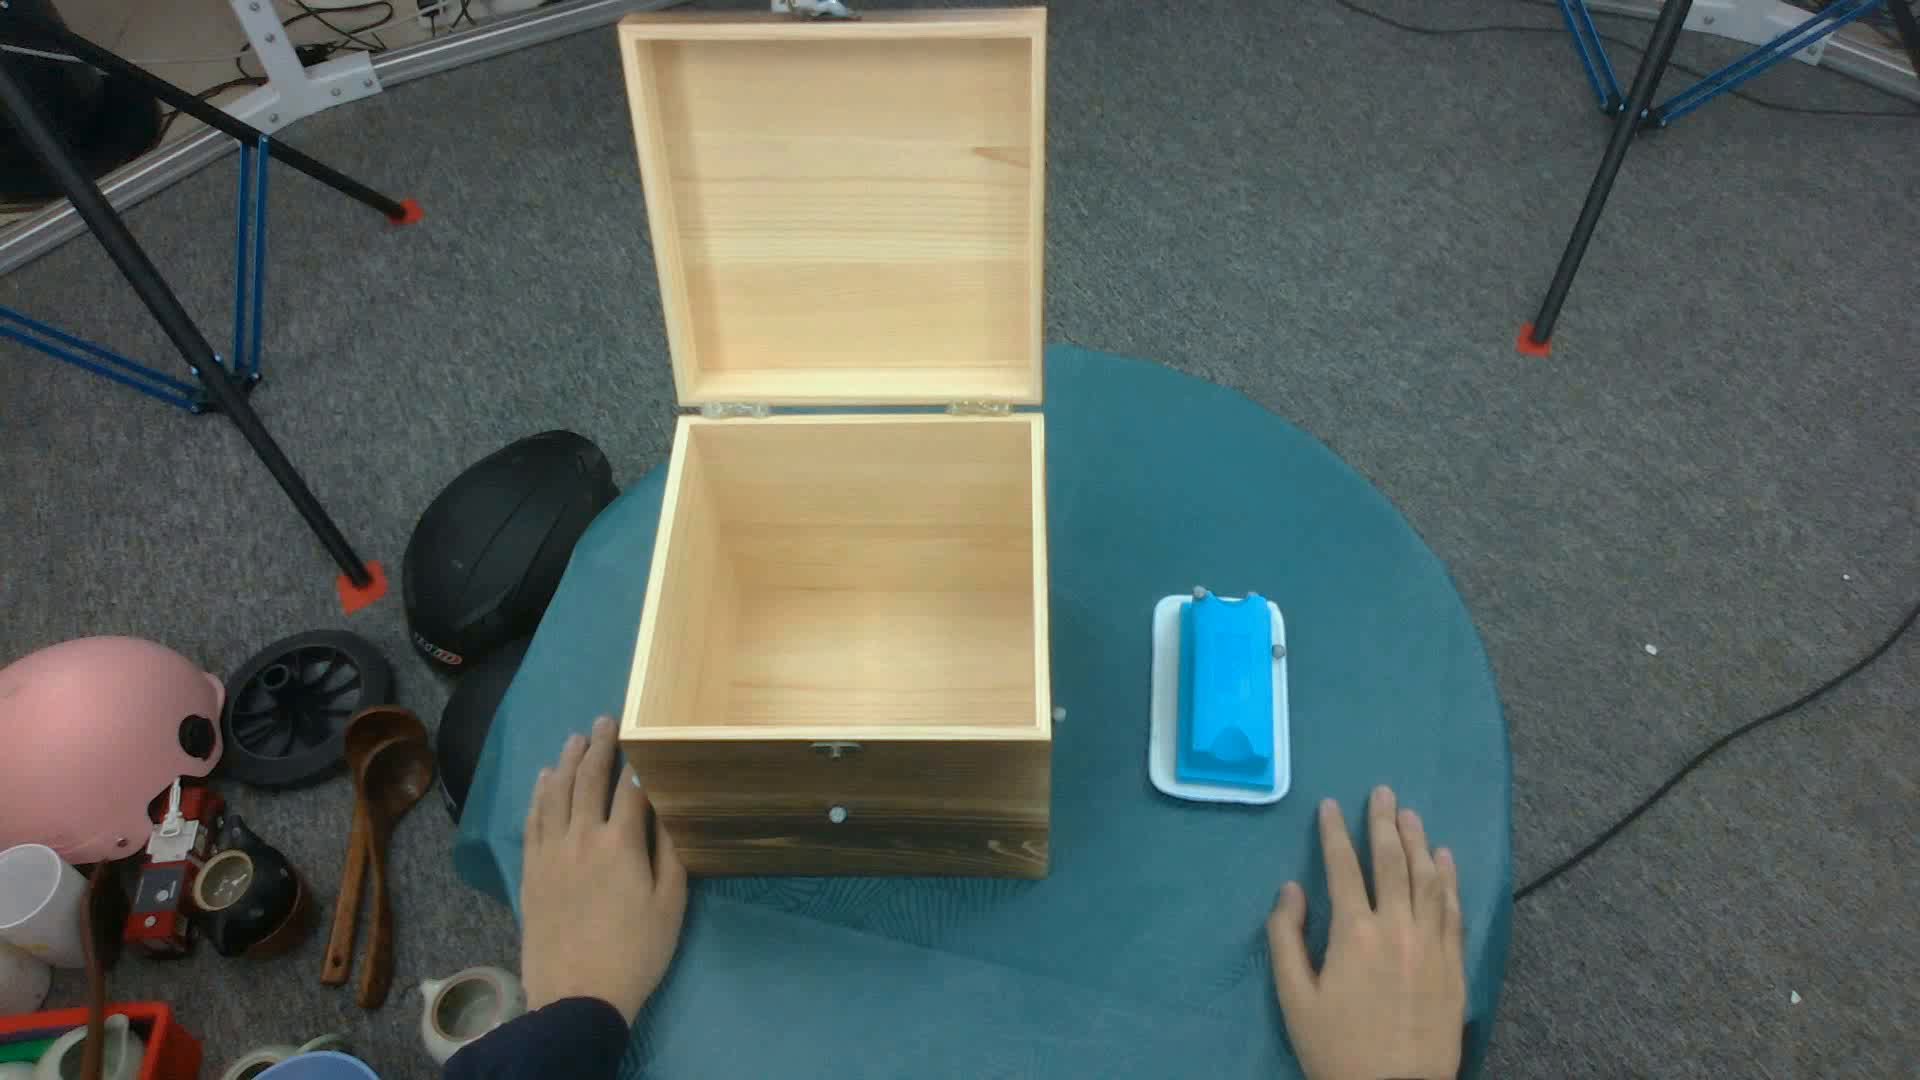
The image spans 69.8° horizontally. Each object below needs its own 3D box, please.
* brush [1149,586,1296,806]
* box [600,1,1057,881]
[{"bbox_3d":[0.156,0.084,0.811,0.084,0.055,0.144,3,52,9],"label":"brush"},{"bbox_3d":[-0.060,-0.034,0.726,0.208,0.373,0.323,-2,54,3],"label":"box"}]
